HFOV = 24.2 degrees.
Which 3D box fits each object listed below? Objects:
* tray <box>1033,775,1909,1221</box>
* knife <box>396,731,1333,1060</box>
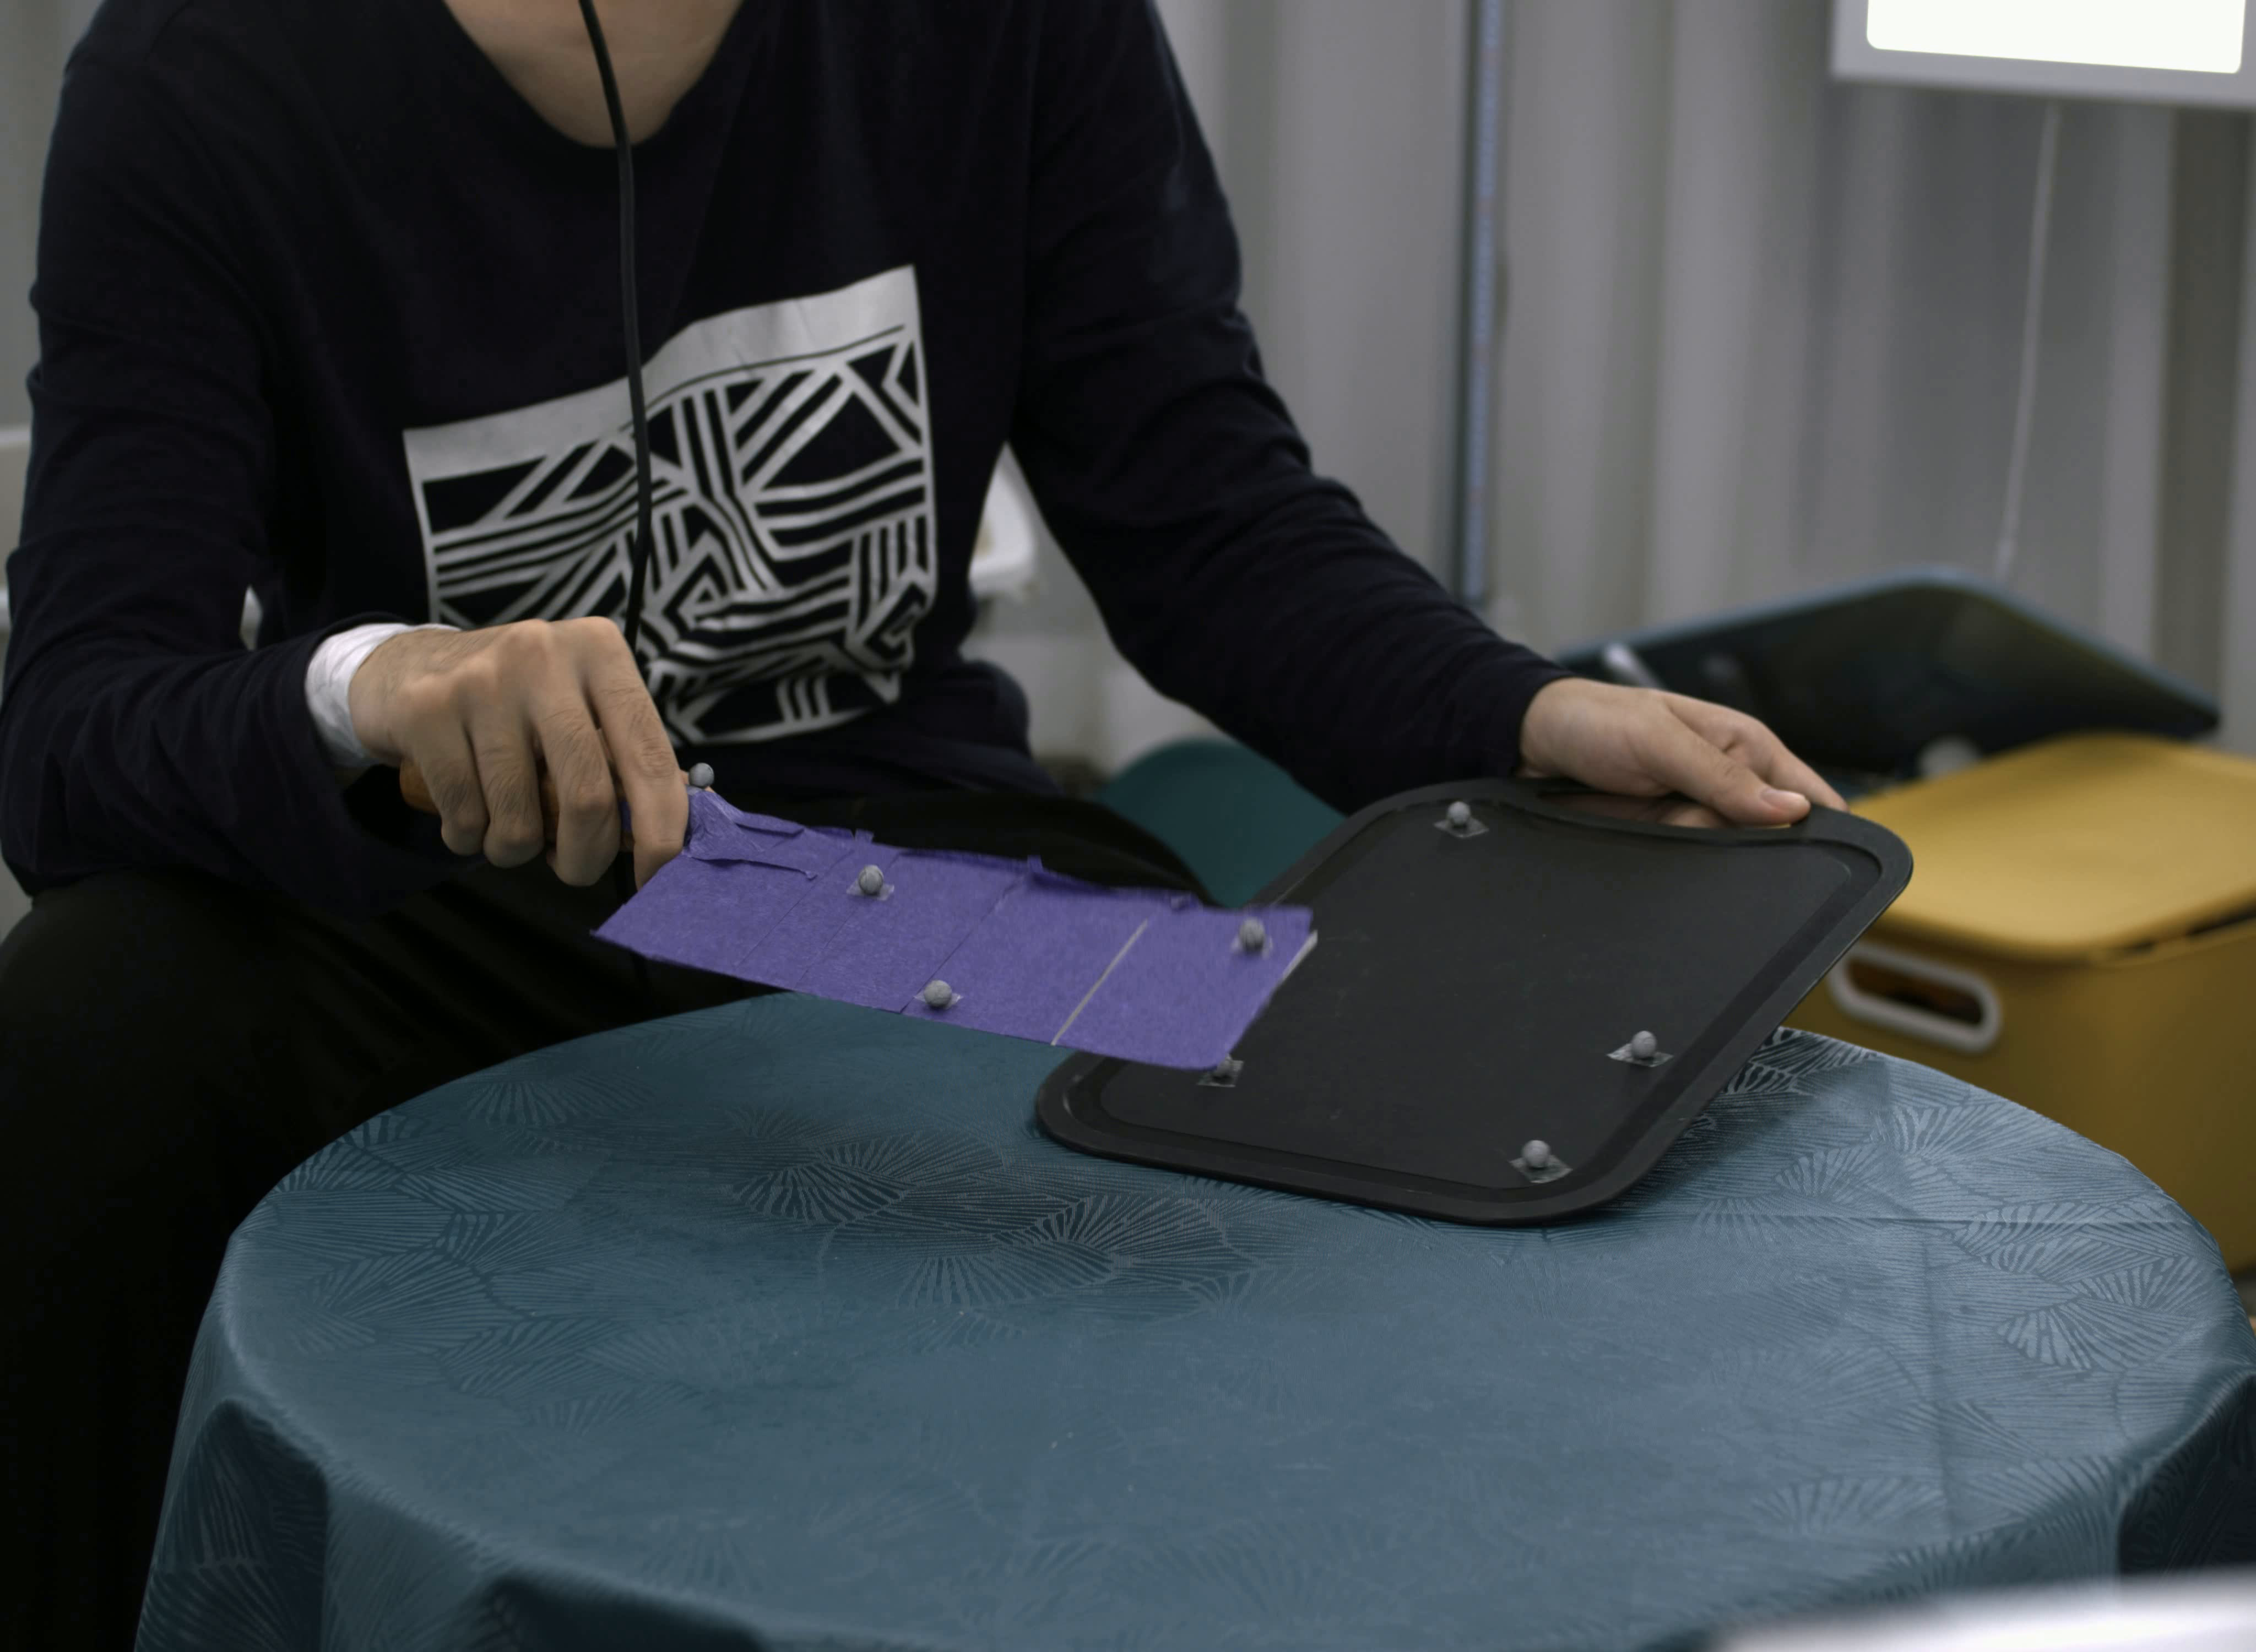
[{"bbox_3d":[0.121,0.047,1.752,0.208,0.010,0.325,9,27,29],"label":"tray"},{"bbox_3d":[-0.098,0.020,1.616,0.312,0.032,0.104,10,27,20],"label":"knife"}]
